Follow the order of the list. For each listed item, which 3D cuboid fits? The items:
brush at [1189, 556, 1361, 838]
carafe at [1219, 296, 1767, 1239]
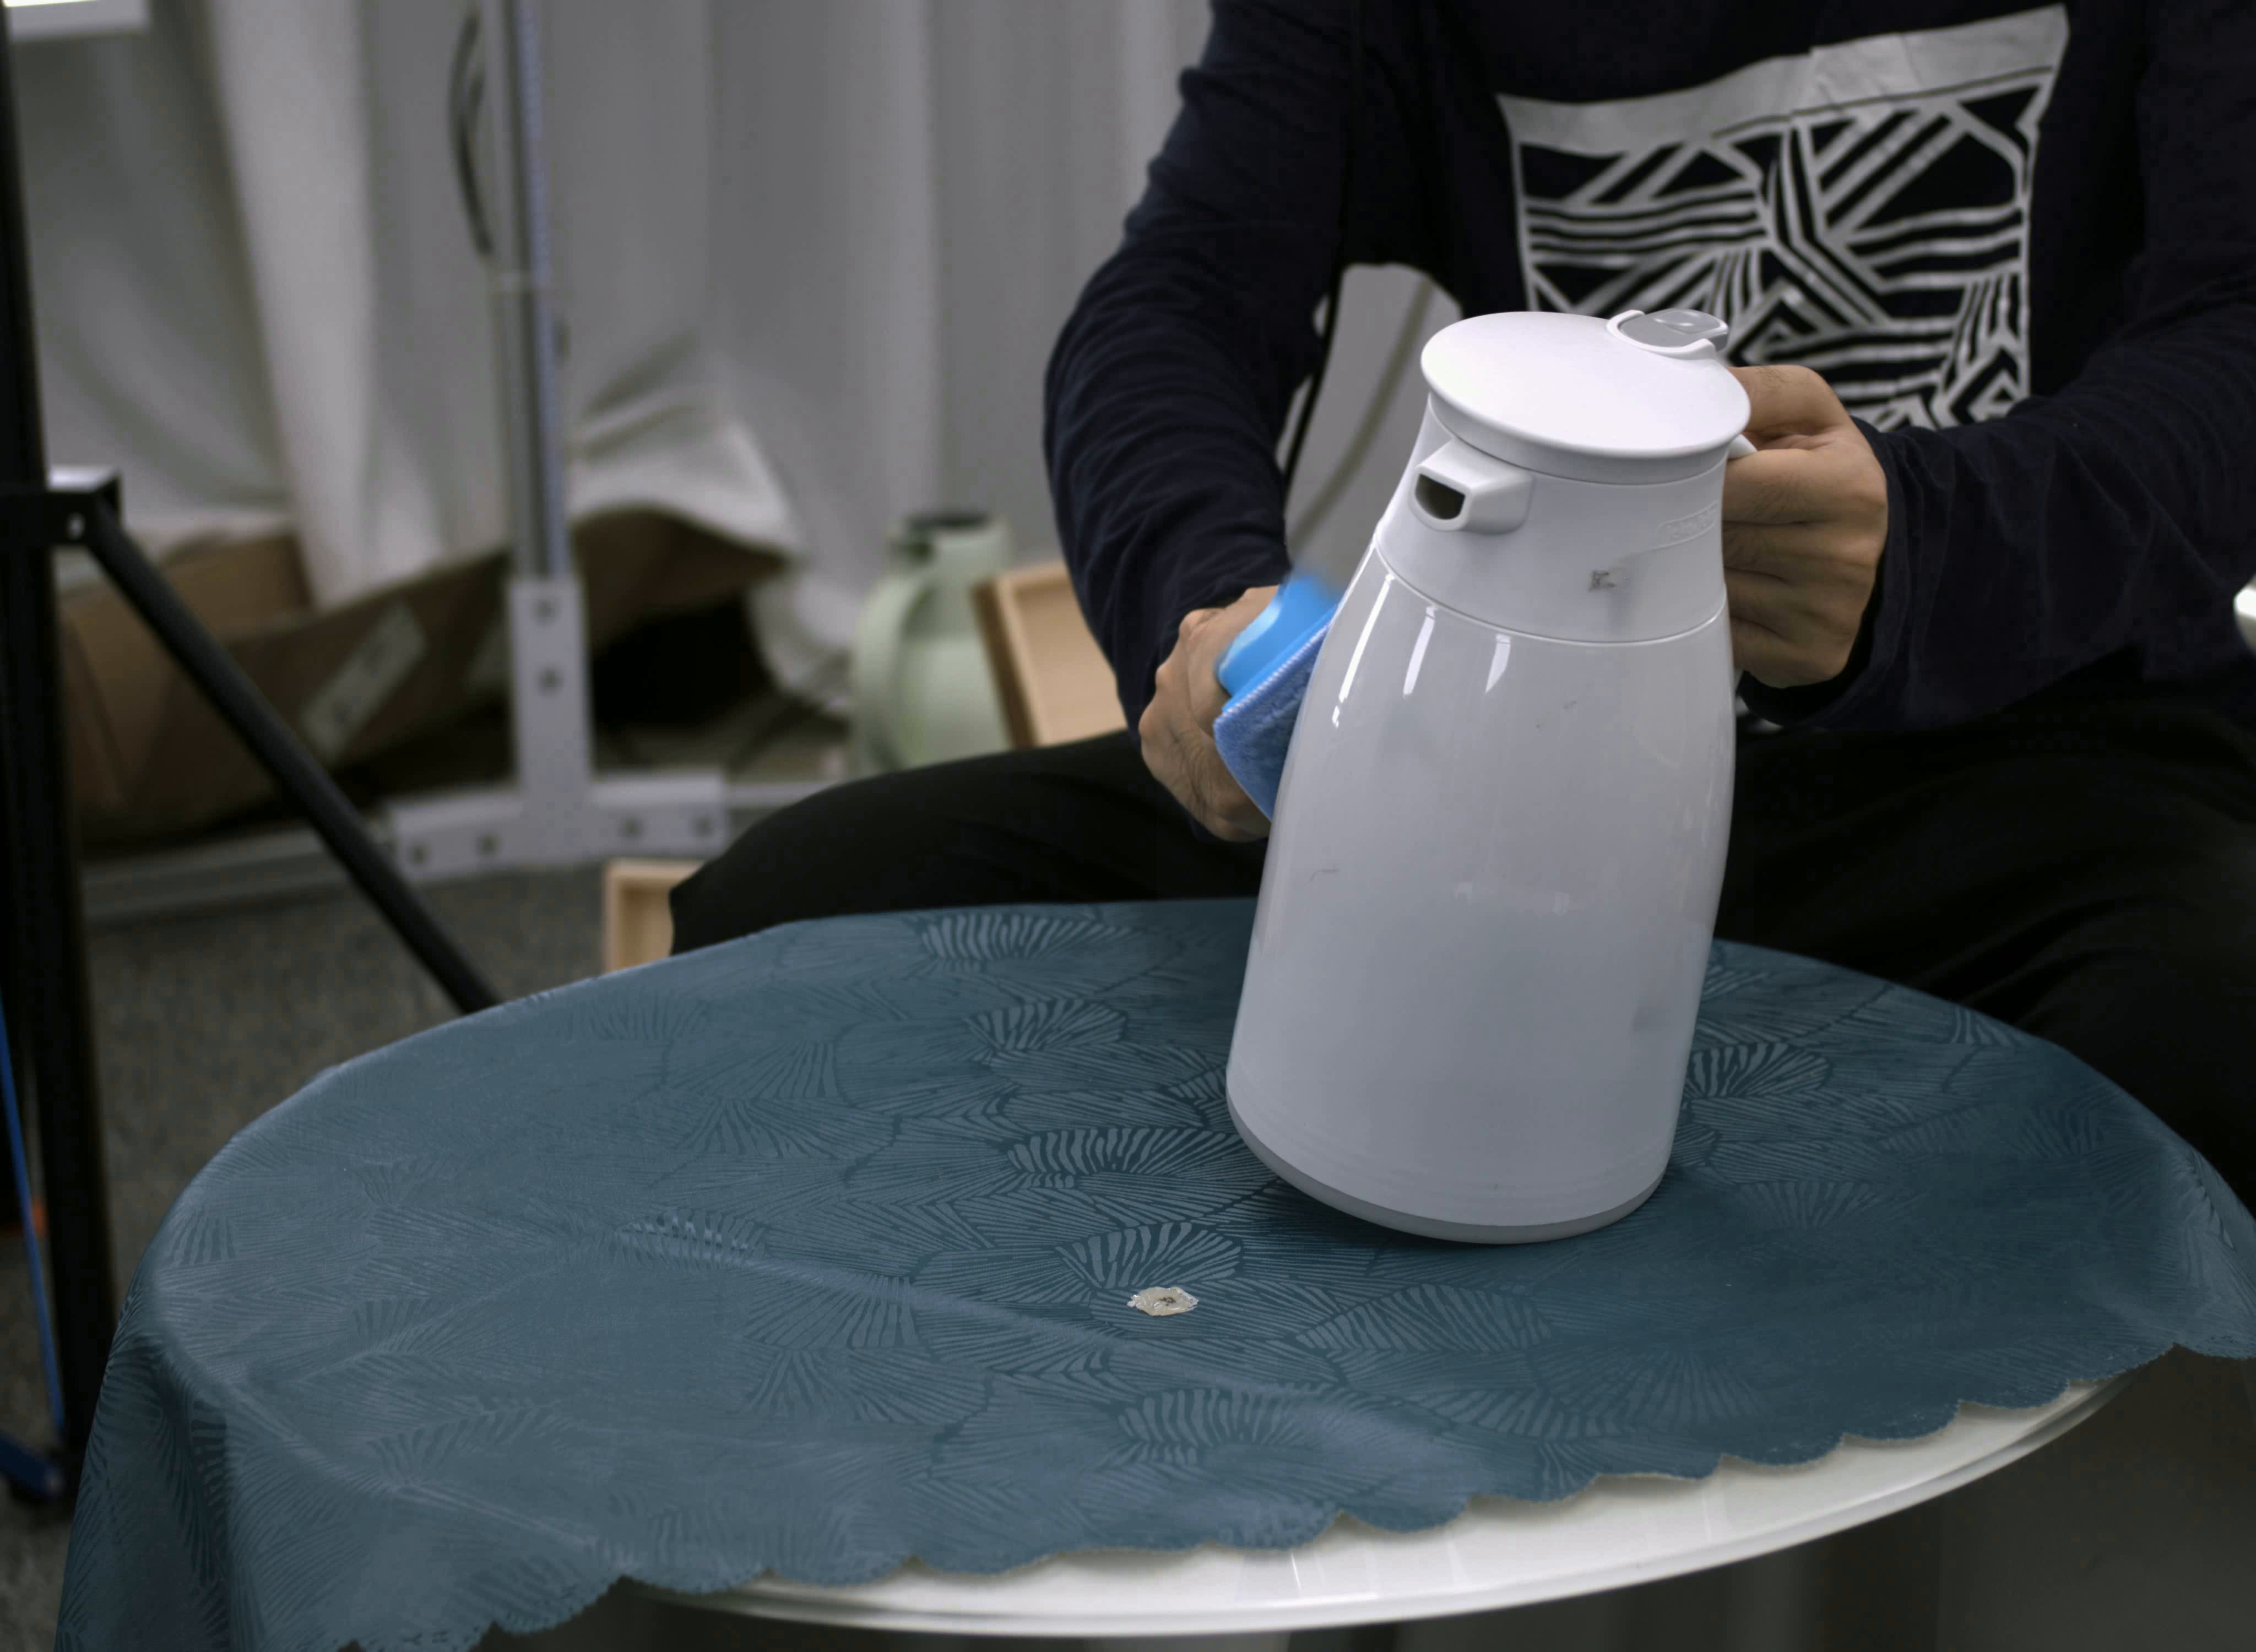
[{"bbox_3d":[0.065,-0.035,1.604,0.057,0.084,0.141,53,5,30],"label":"brush"},{"bbox_3d":[0.120,-0.028,1.513,0.135,0.248,0.164,26,31,30],"label":"carafe"}]
